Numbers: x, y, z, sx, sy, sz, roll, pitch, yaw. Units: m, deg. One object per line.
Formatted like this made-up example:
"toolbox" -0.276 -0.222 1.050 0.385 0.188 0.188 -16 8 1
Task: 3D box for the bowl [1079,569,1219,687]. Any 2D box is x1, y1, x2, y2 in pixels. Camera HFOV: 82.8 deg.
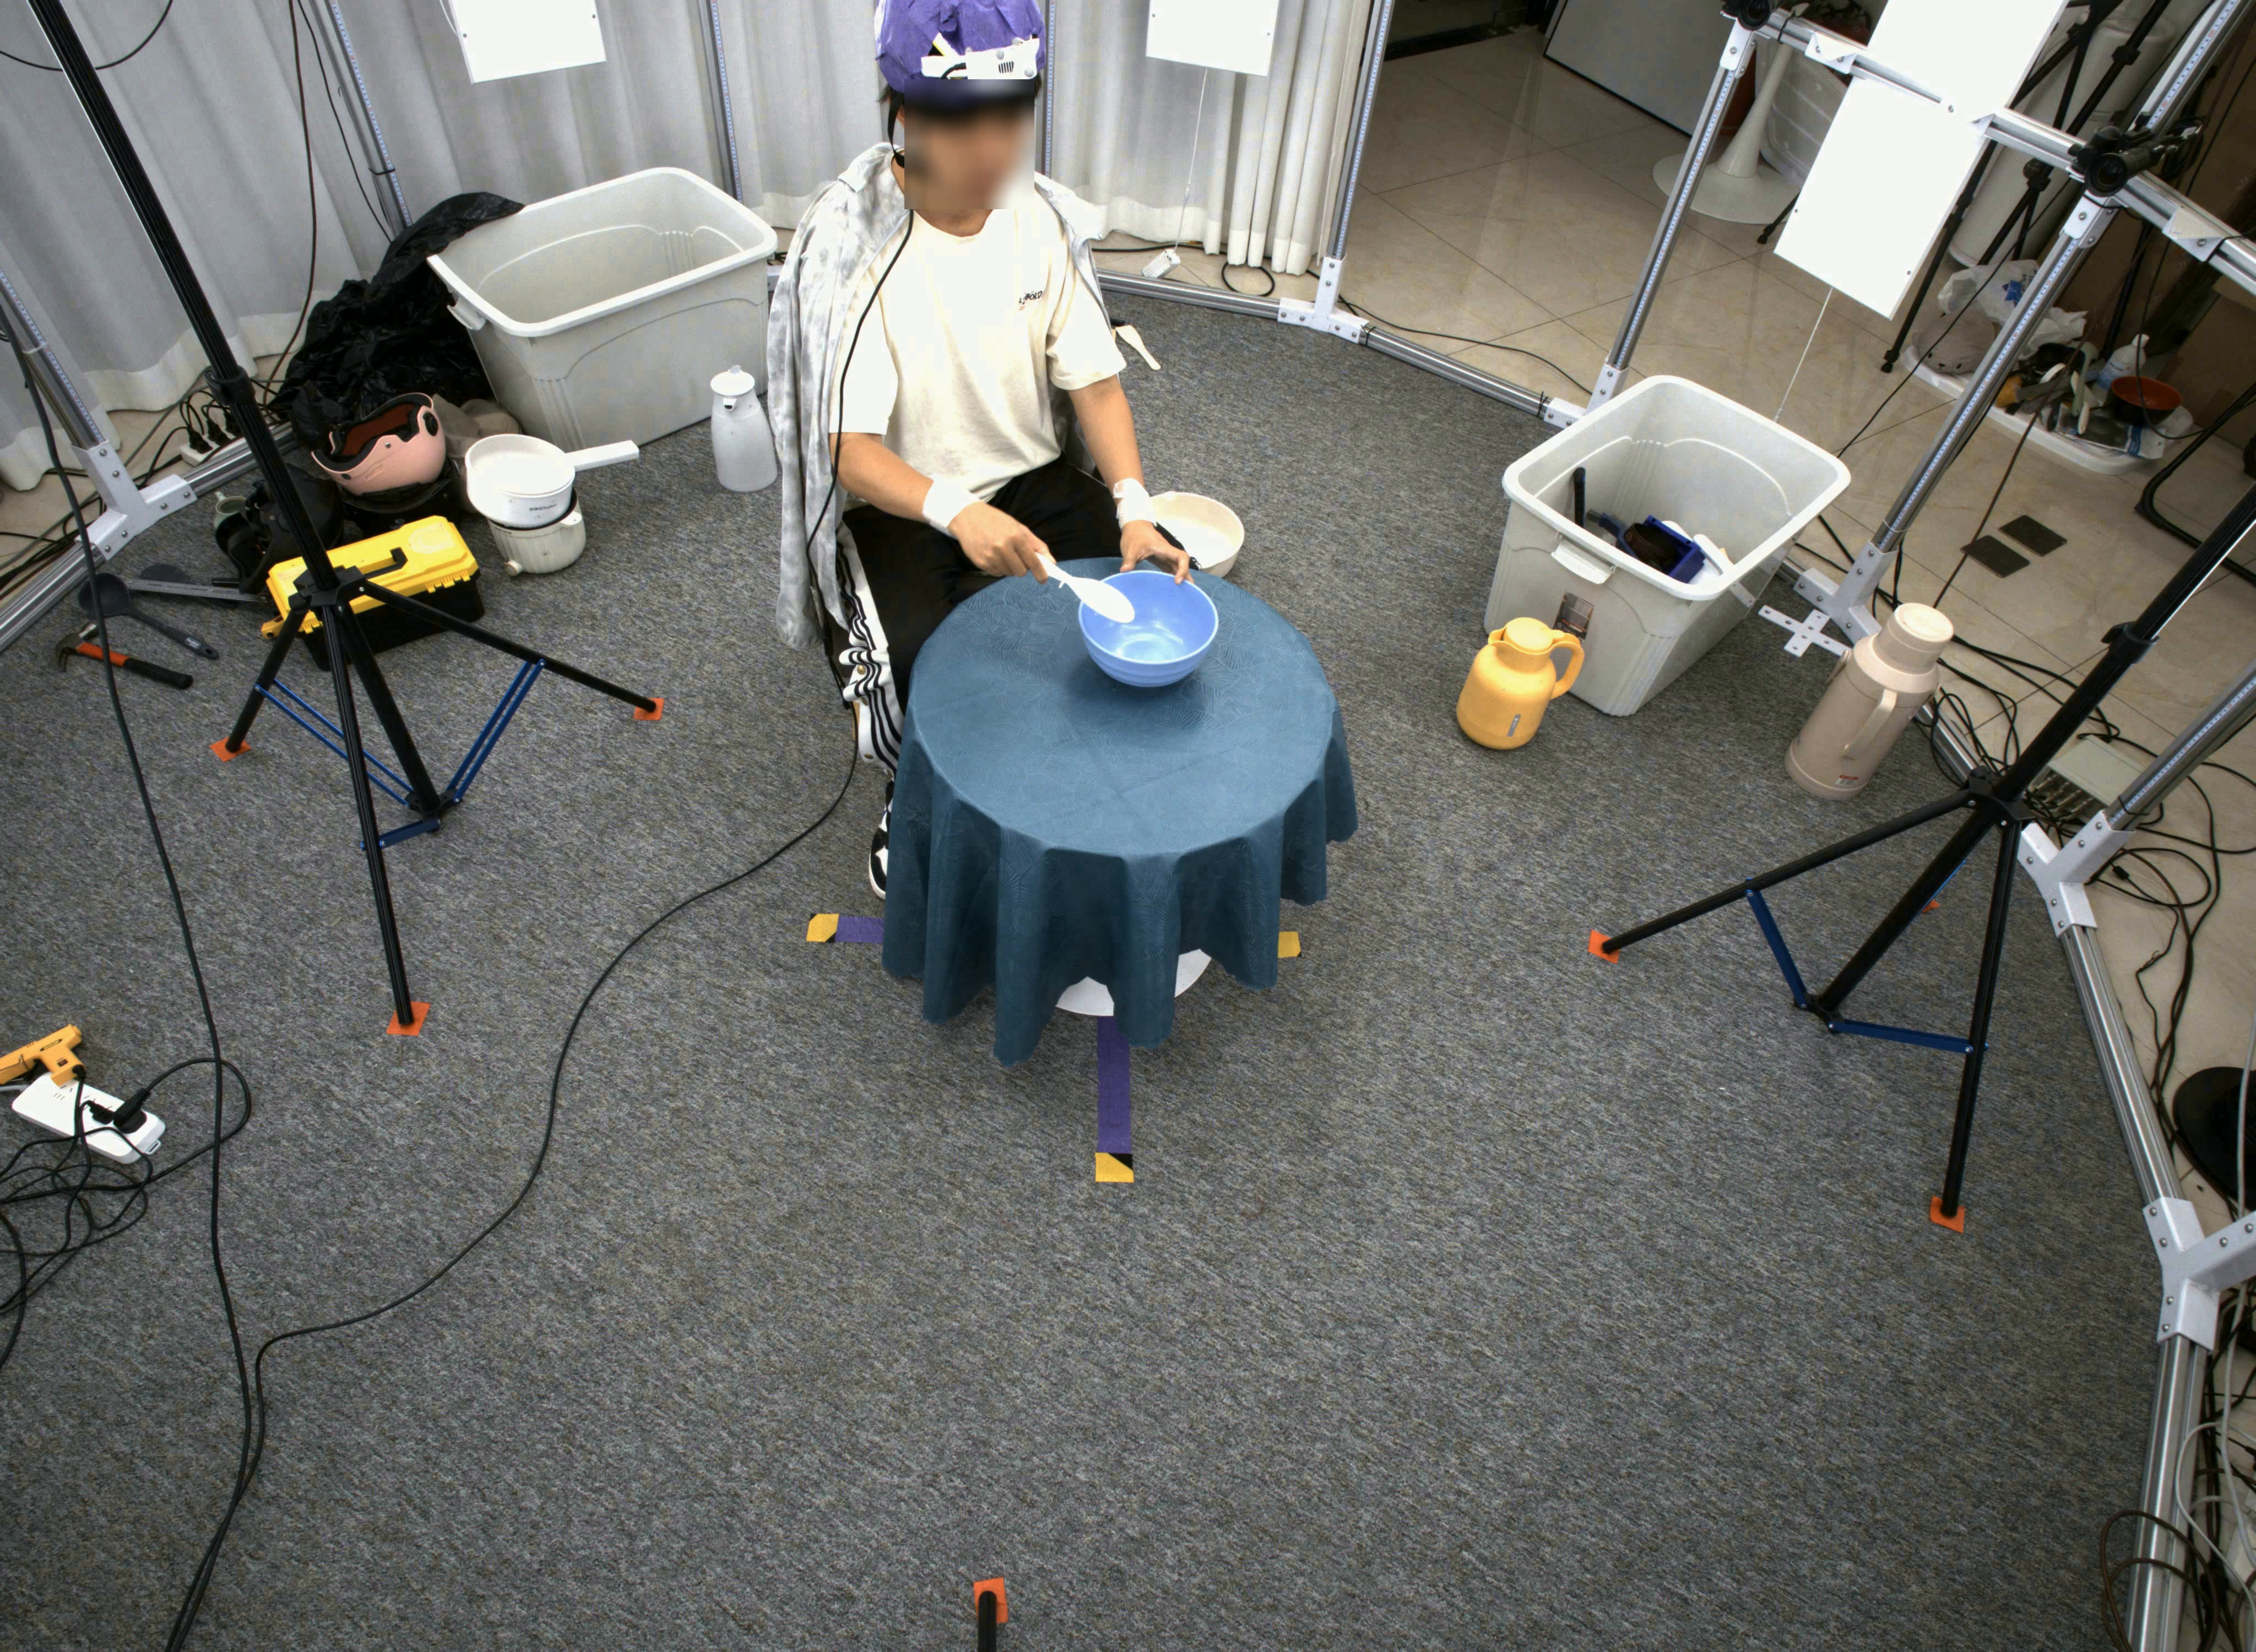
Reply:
"bowl" 0.027 -0.267 1.833 0.196 0.093 0.201 2 50 -3

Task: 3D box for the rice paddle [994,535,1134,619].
"rice paddle" -0.081 -0.333 1.733 0.204 0.029 0.070 24 43 -13
